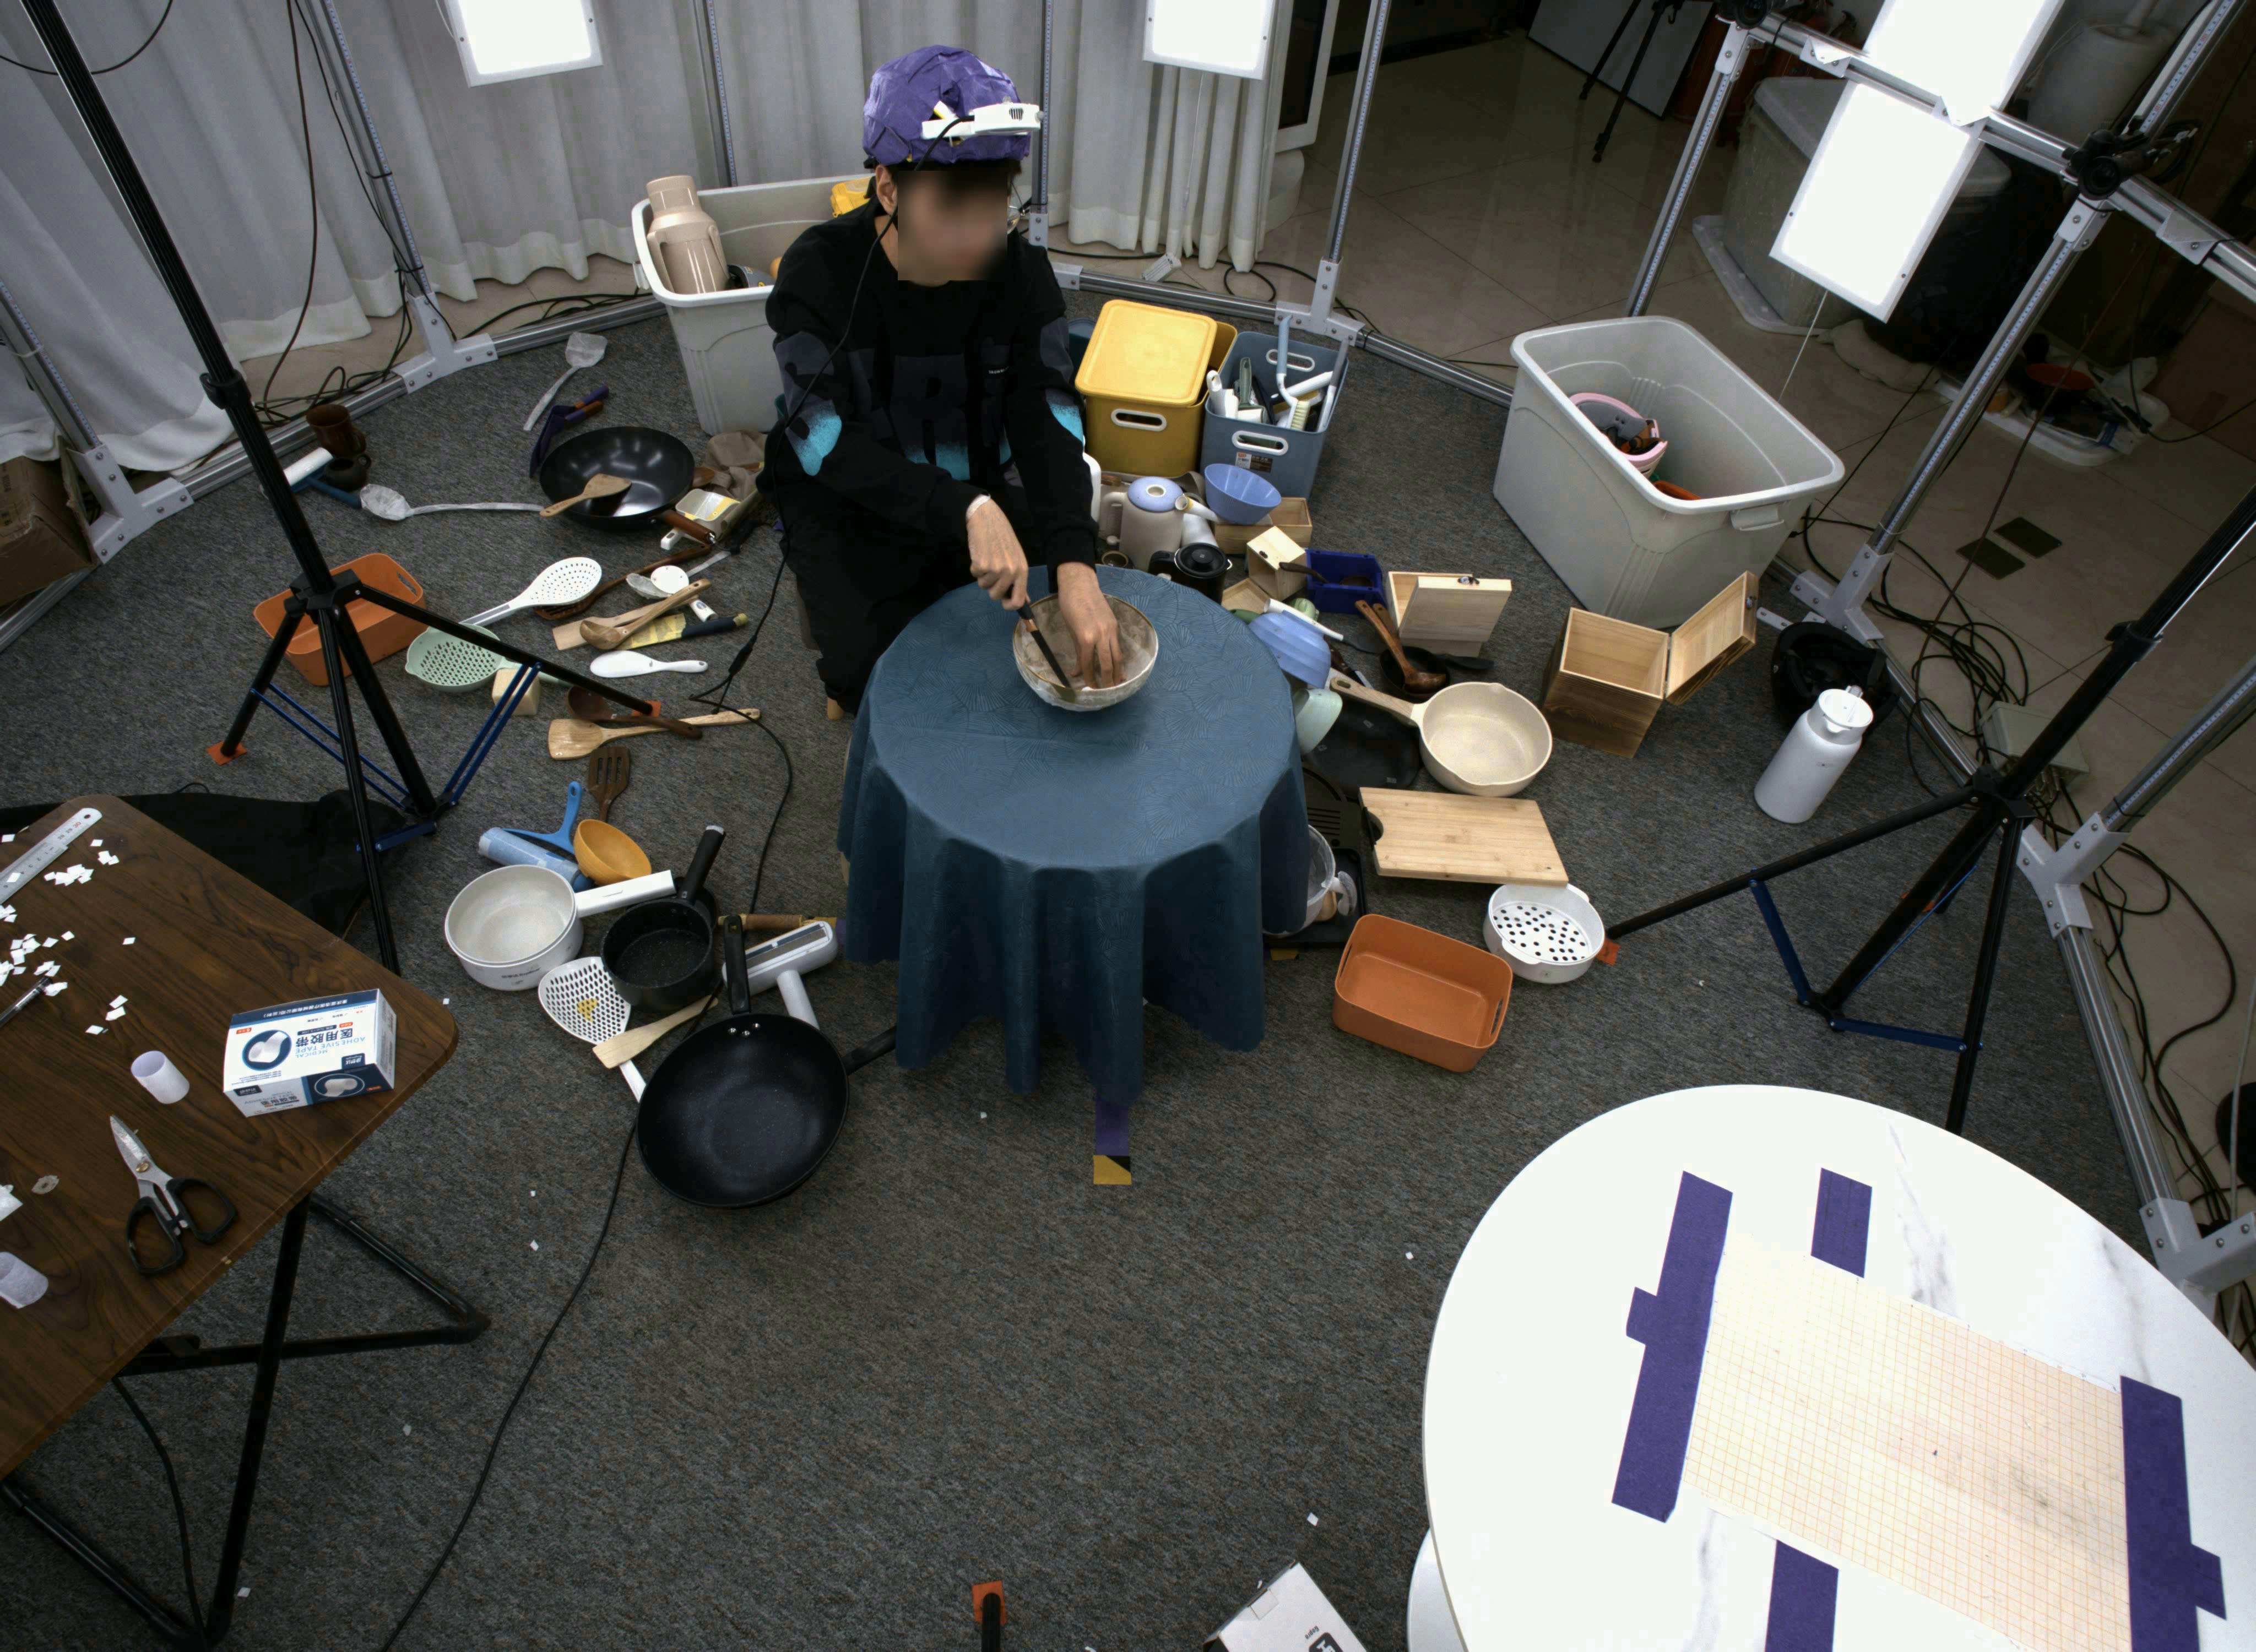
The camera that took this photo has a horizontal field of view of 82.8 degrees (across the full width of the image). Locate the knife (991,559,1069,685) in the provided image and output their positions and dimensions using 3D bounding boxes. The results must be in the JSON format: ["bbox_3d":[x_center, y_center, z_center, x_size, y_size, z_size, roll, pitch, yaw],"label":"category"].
[{"bbox_3d":[-0.128,-0.270,1.791,0.026,0.223,0.017,-12,24,48],"label":"knife"}]

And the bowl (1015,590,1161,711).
[{"bbox_3d":[-0.058,-0.234,1.806,0.214,0.092,0.220,1,50,-2],"label":"bowl"}]
